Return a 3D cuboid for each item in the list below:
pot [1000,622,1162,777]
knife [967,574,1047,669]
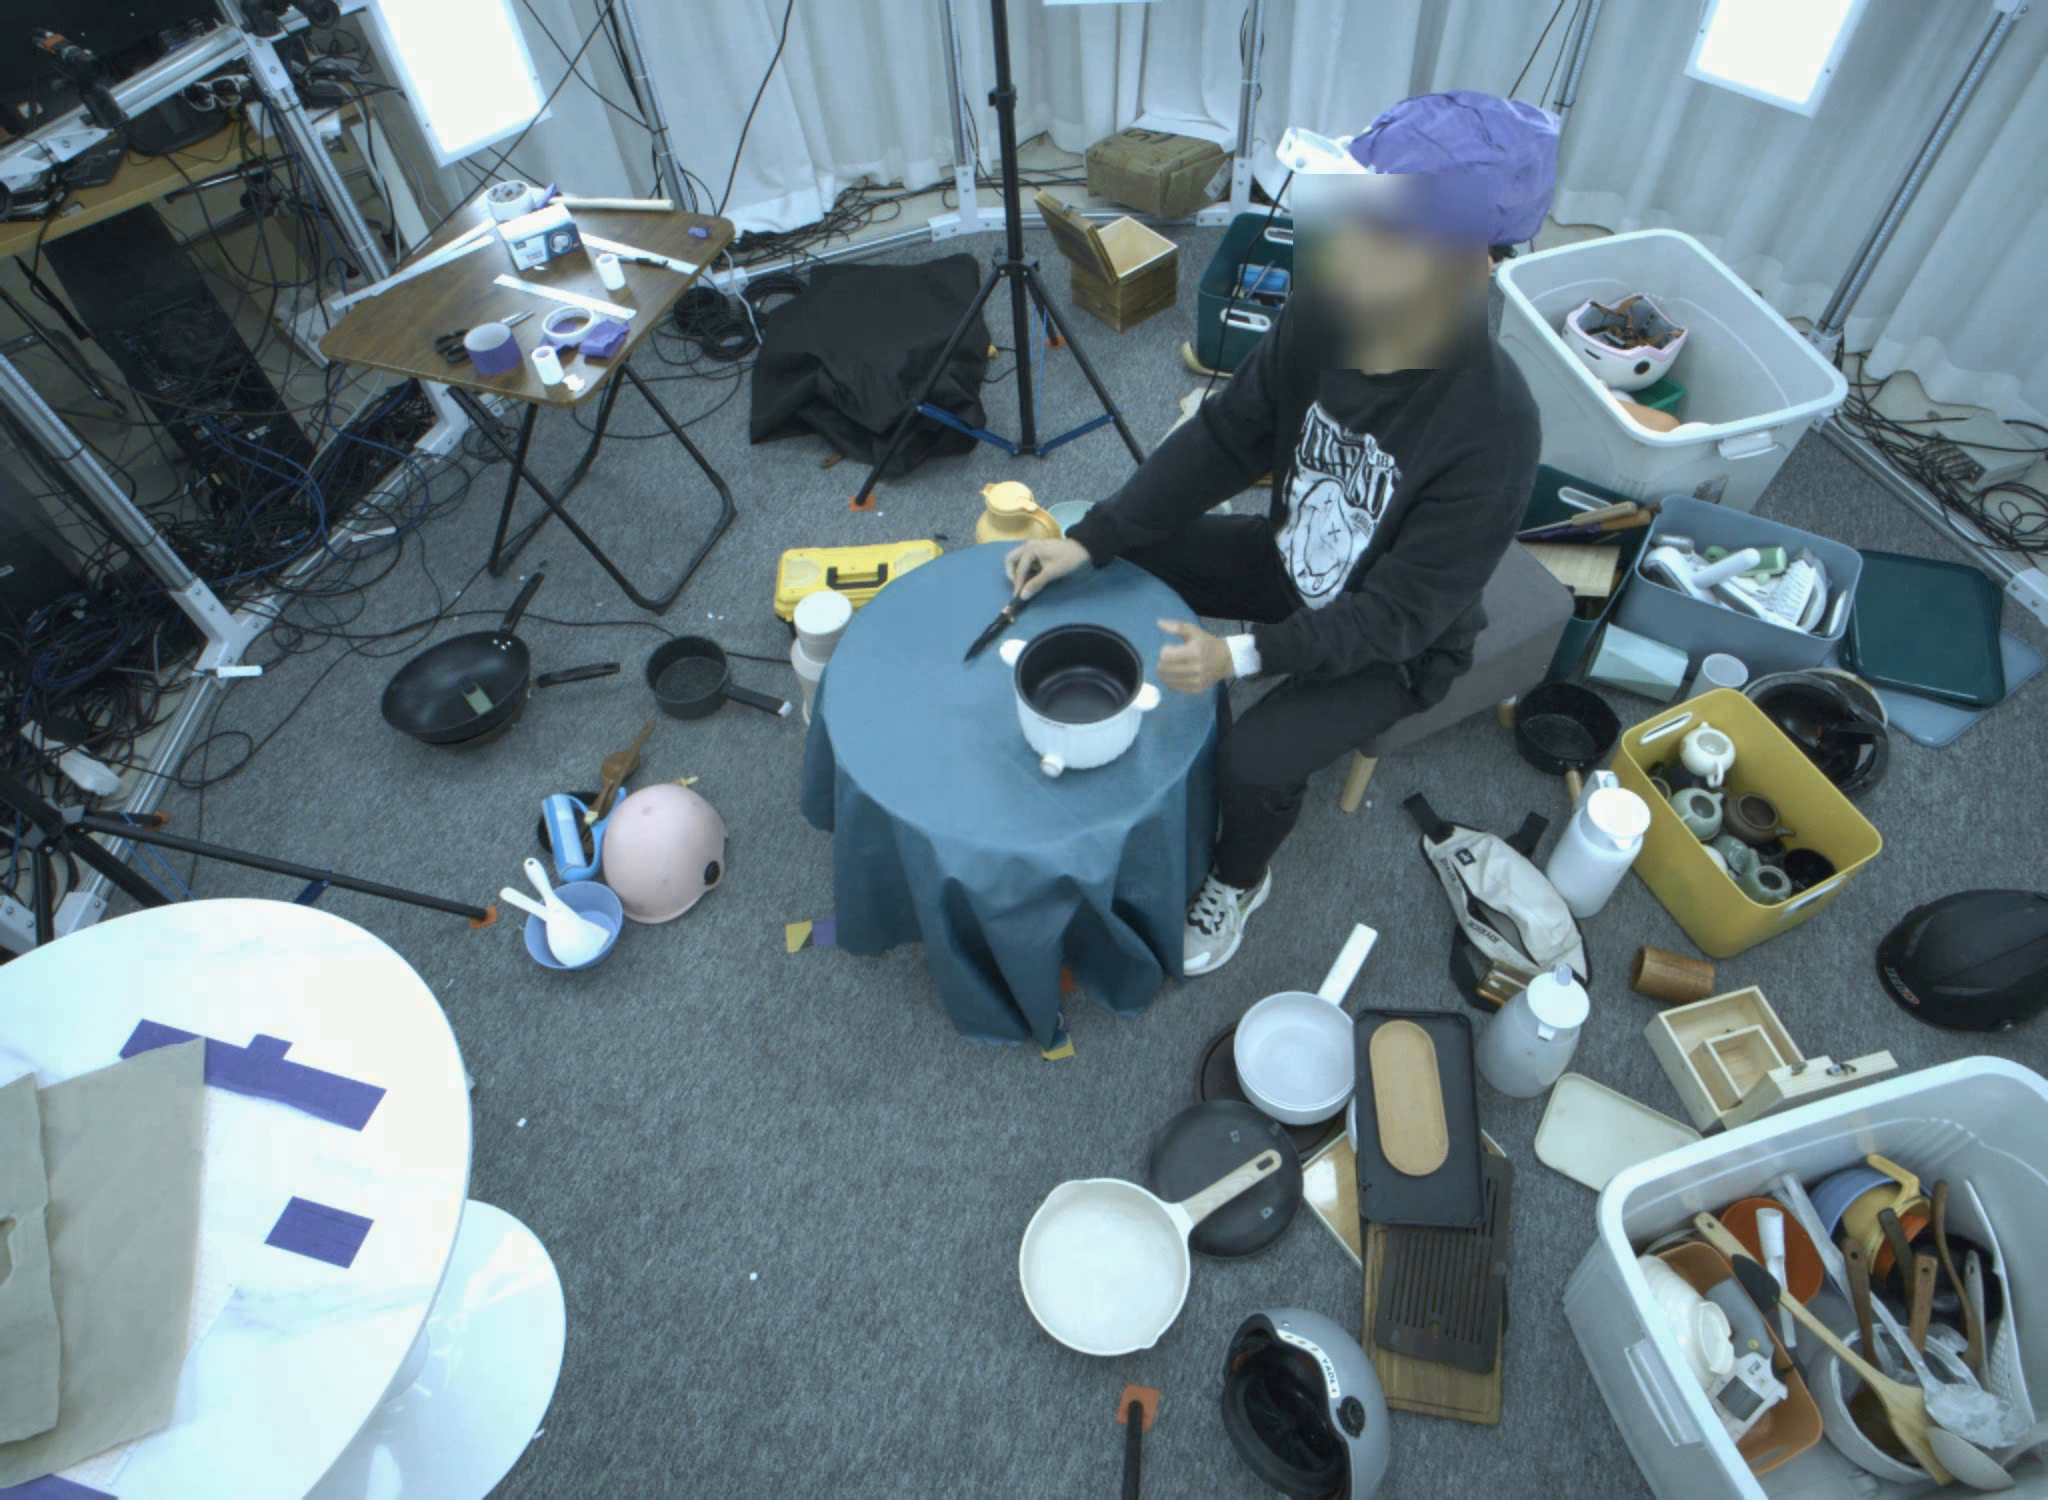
[{"bbox_3d":[0.079,-0.065,1.742,0.237,0.144,0.191,19,54,17],"label":"pot"},{"bbox_3d":[-0.029,-0.204,1.920,0.017,0.026,0.226,-10,34,51],"label":"knife"}]
